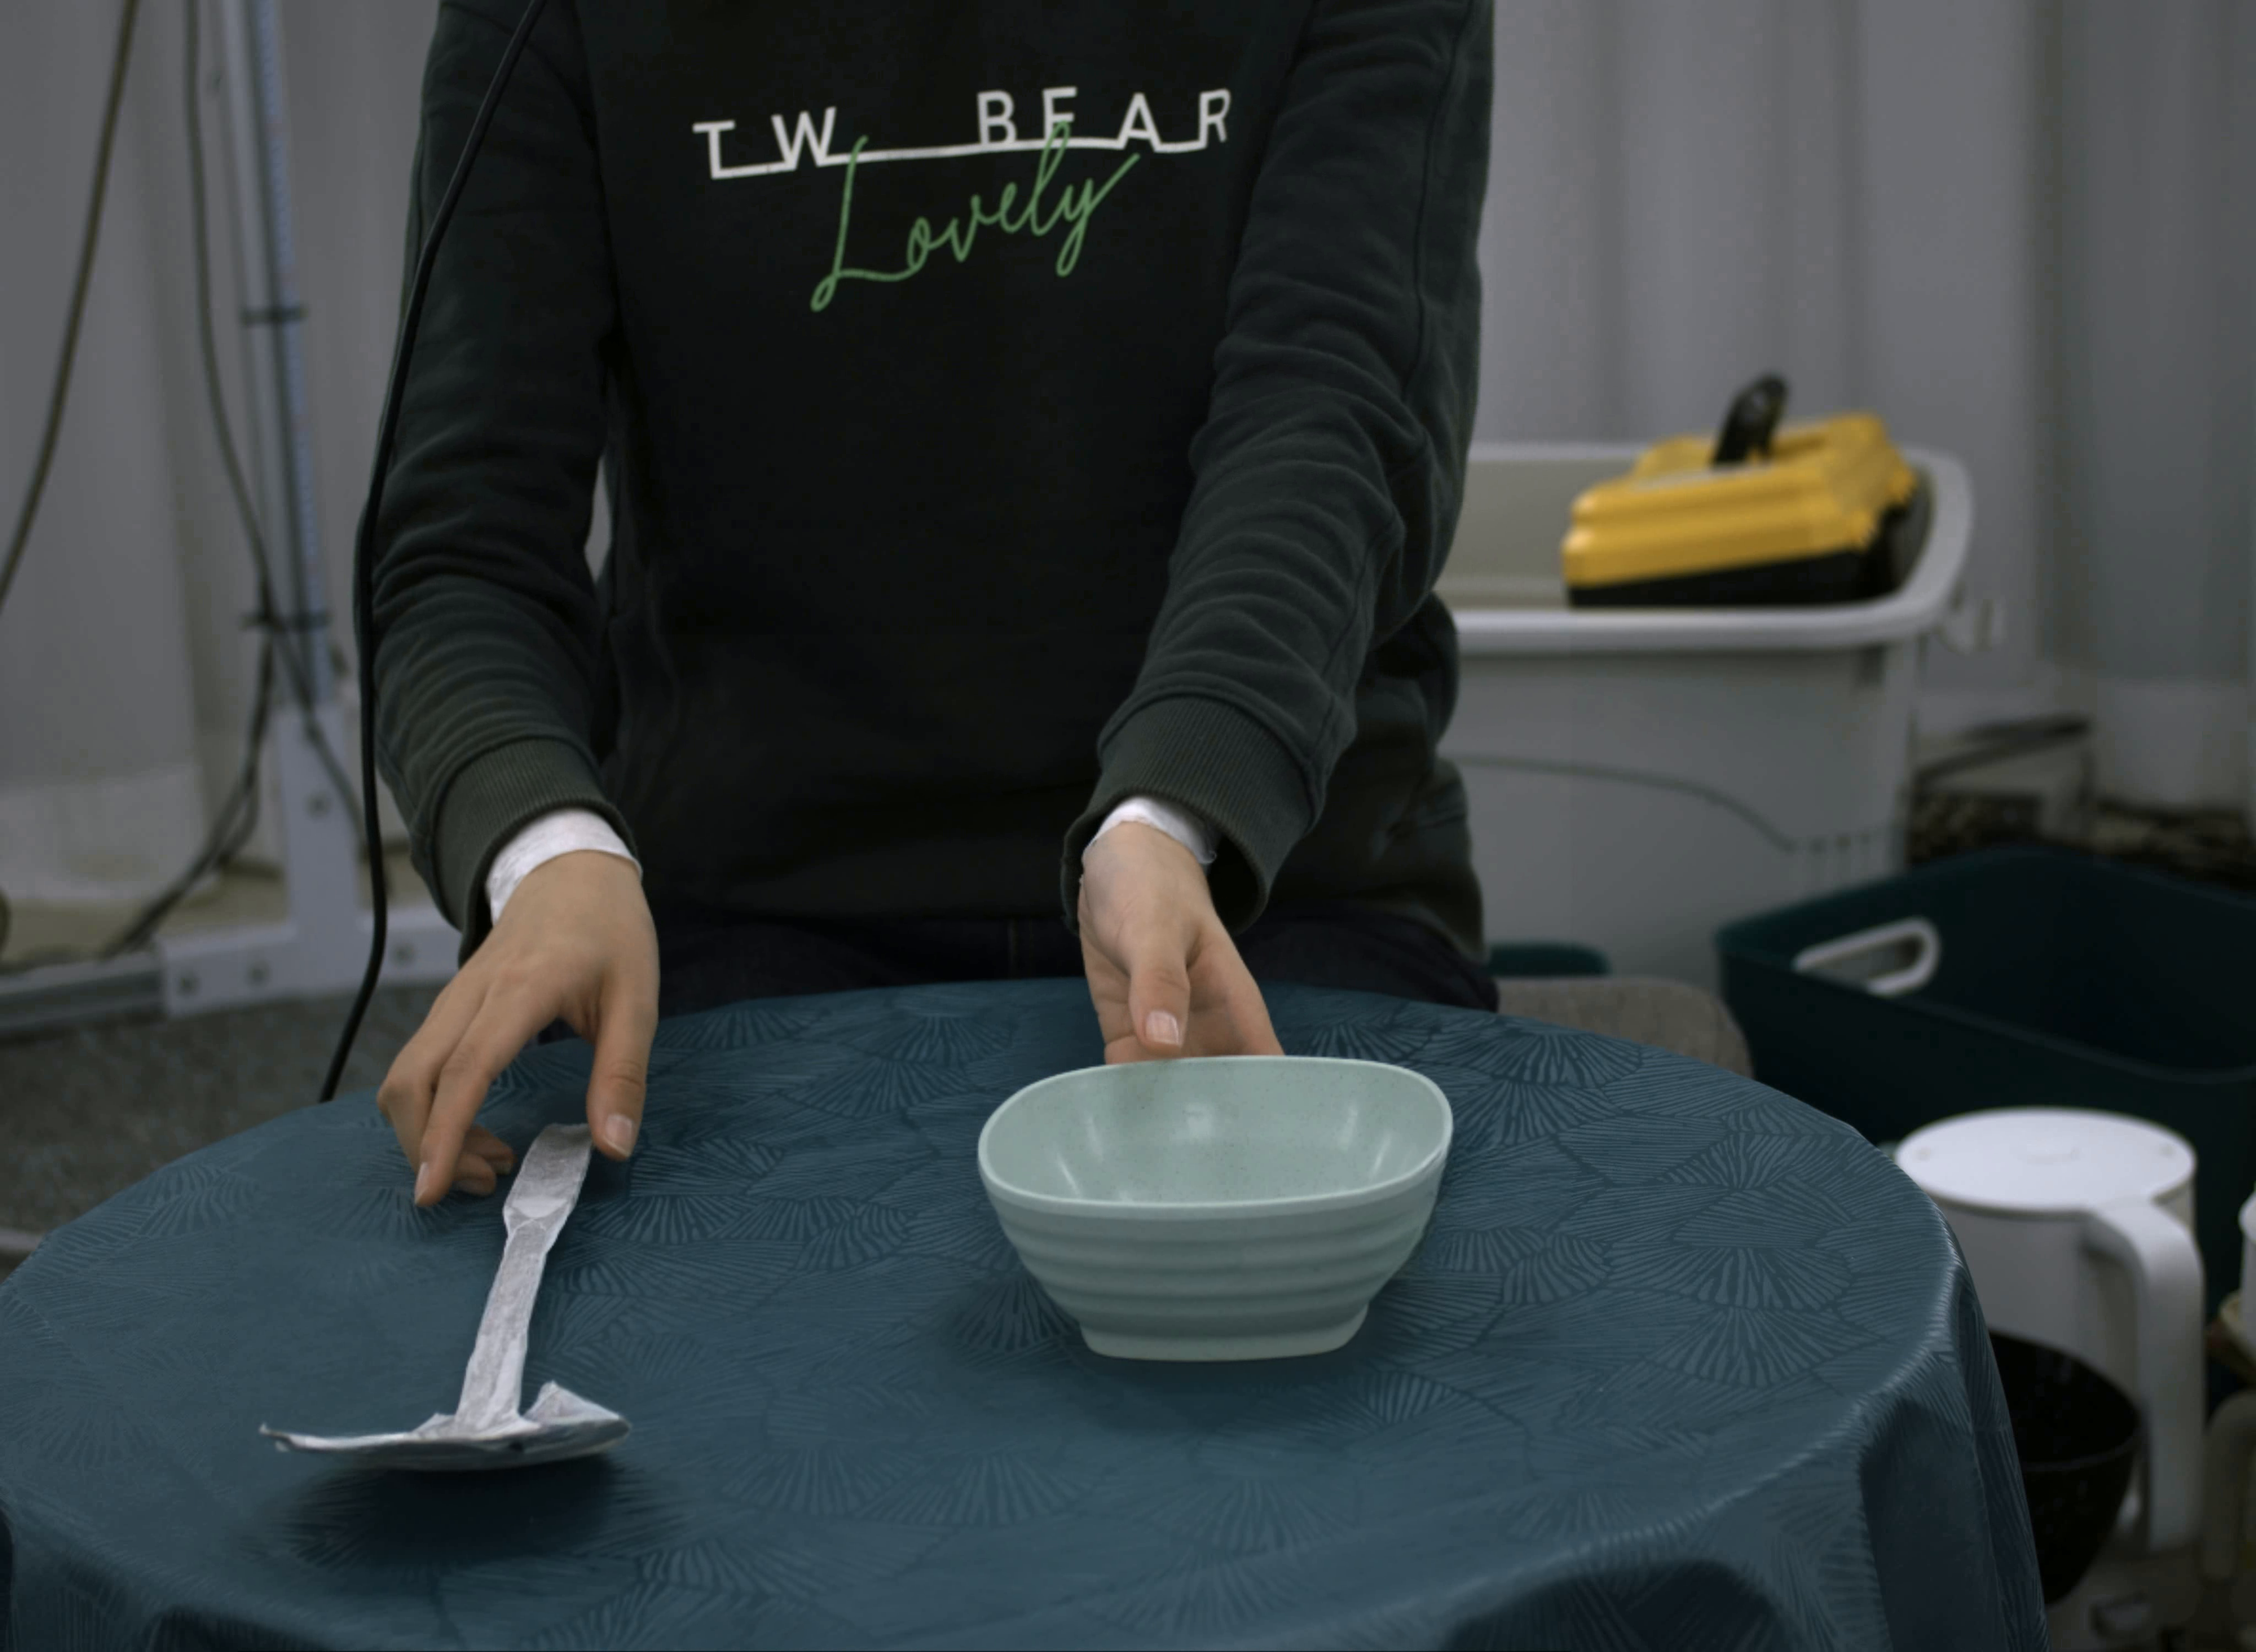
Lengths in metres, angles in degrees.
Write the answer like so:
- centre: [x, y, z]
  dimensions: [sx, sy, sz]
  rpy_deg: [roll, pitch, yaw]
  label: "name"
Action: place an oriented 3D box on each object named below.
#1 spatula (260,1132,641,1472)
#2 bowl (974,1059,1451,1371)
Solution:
- centre: [-0.177, 0.131, 1.612]
  dimensions: [0.098, 0.044, 0.367]
  rpy_deg: [-4, 15, 3]
  label: "spatula"
- centre: [0.025, 0.117, 1.598]
  dimensions: [0.151, 0.058, 0.152]
  rpy_deg: [-1, 16, 0]
  label: "bowl"
